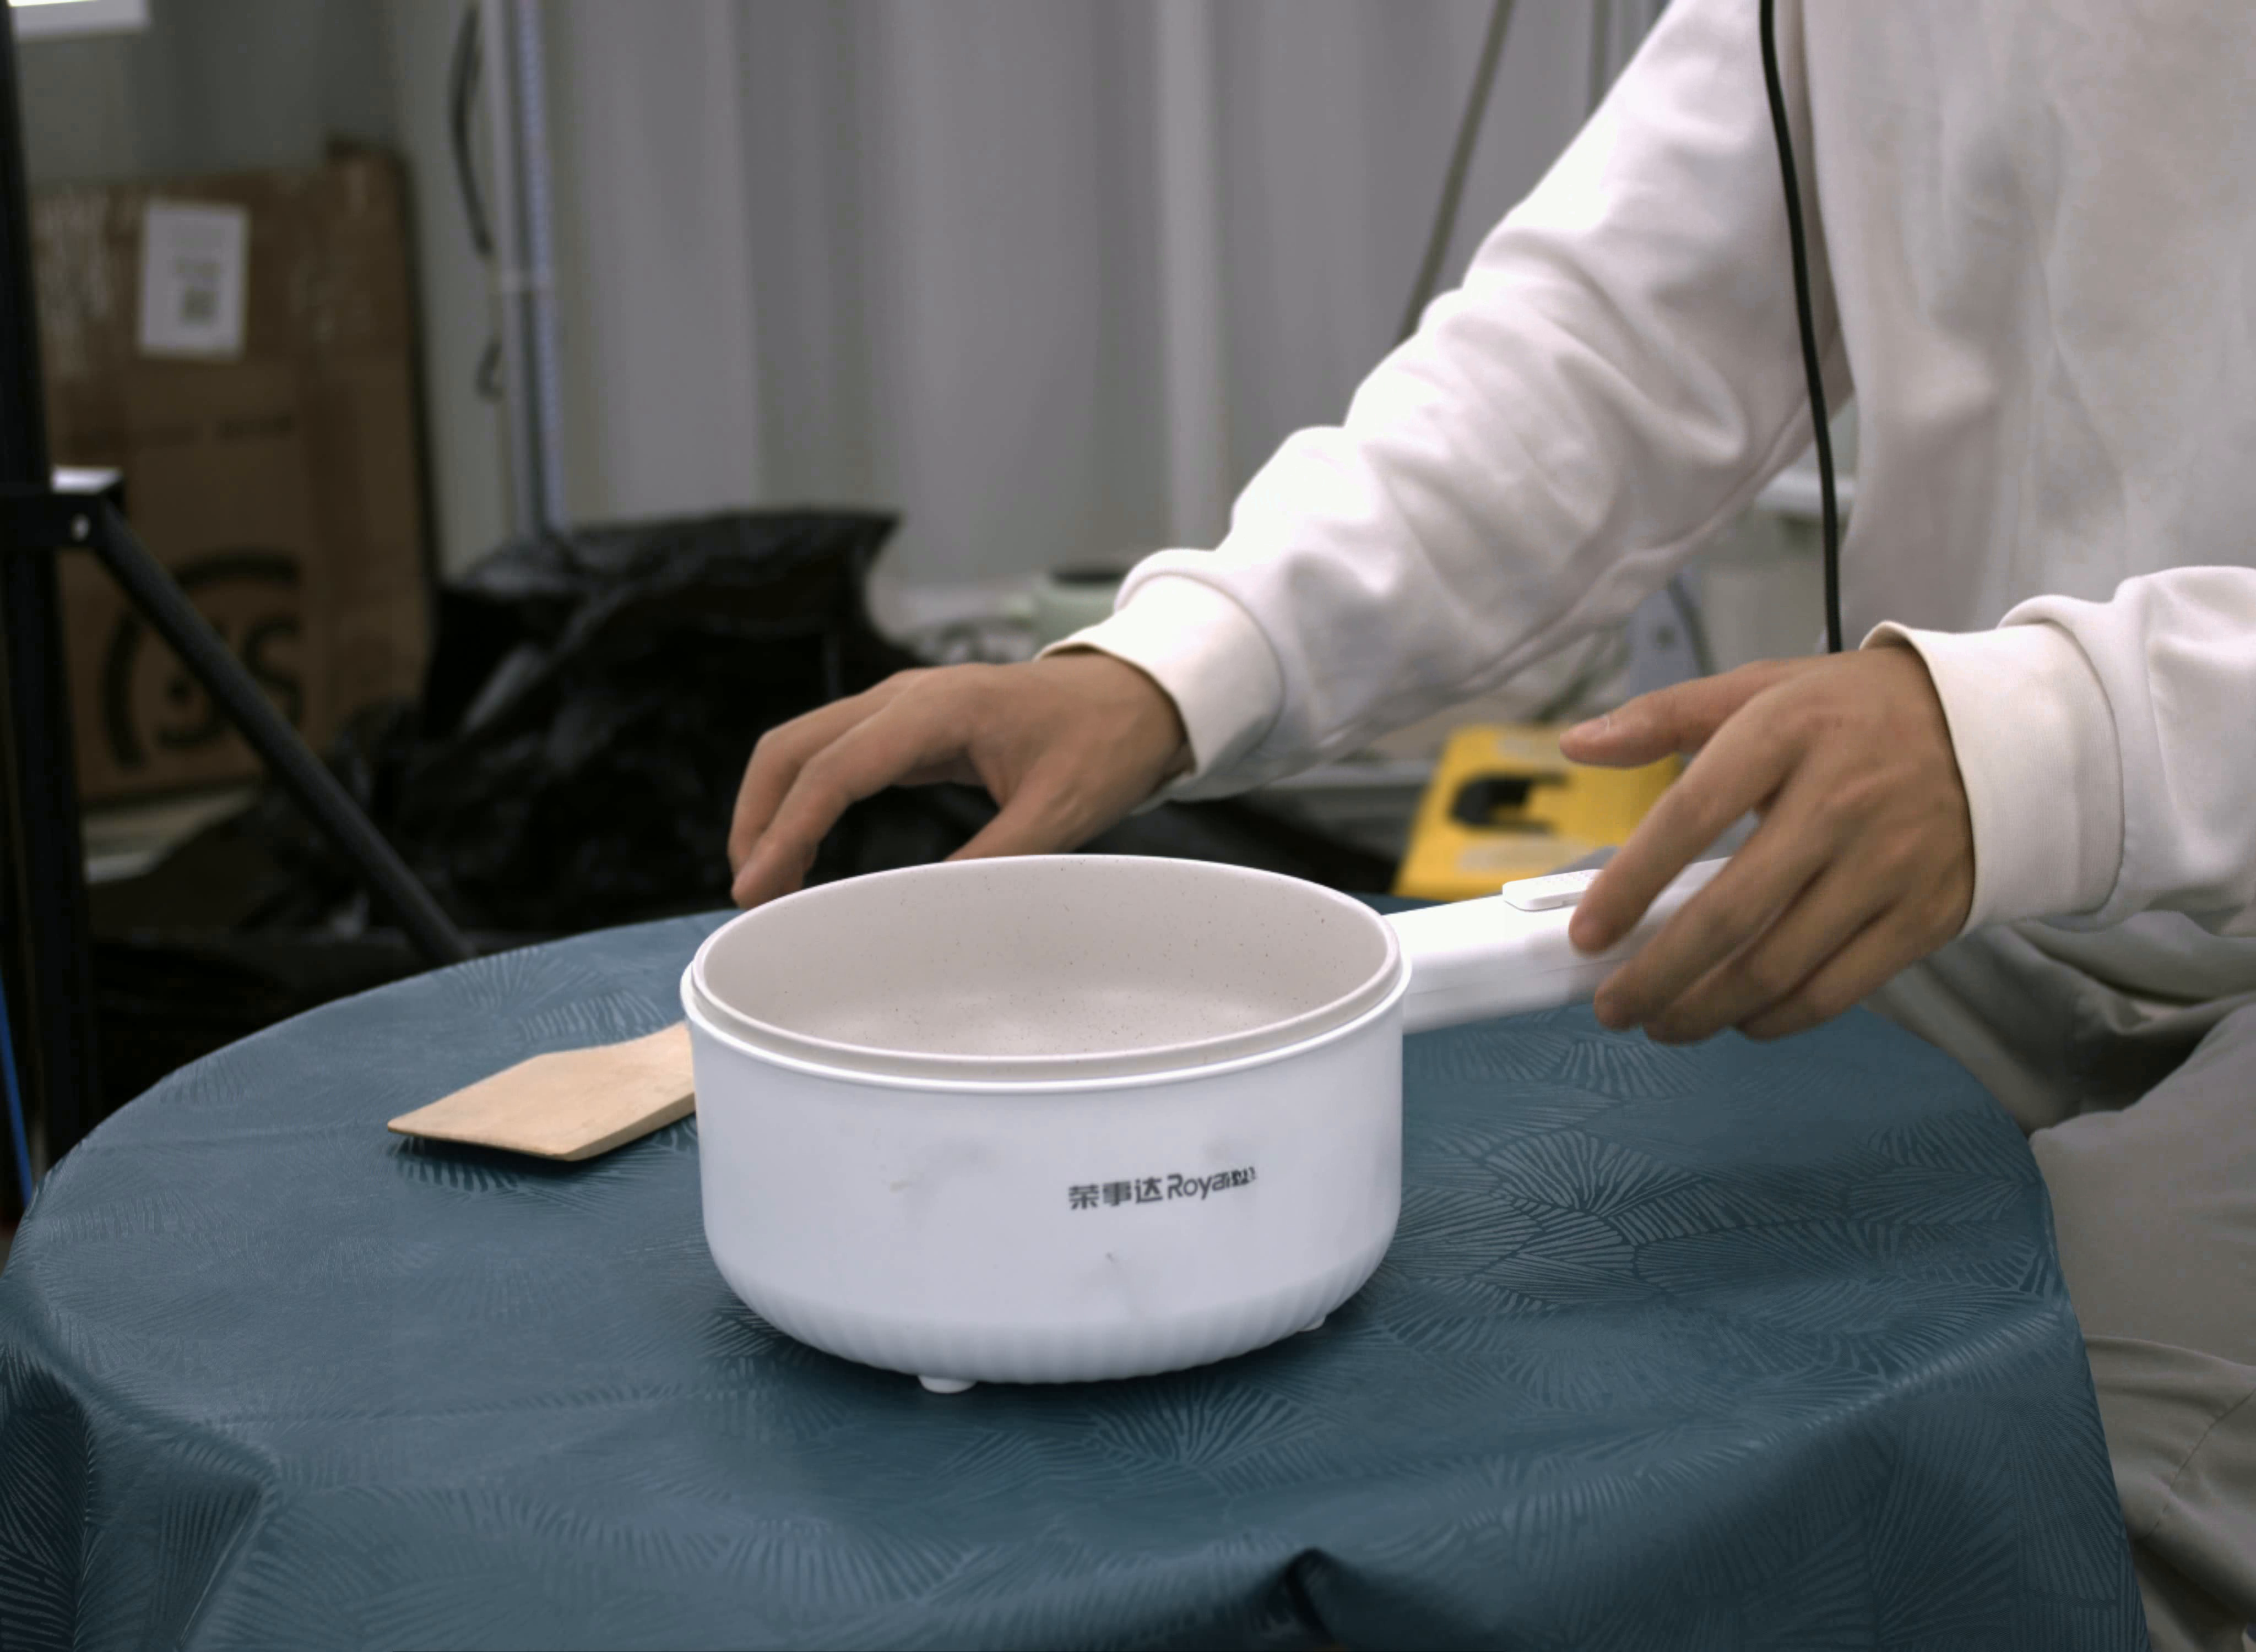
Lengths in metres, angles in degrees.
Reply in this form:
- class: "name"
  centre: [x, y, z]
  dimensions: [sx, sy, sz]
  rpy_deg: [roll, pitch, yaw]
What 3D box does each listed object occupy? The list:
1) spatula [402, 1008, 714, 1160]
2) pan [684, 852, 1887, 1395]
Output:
- class: "spatula"
  centre: [-0.123, 0.061, 1.727]
  dimensions: [0.073, 0.010, 0.288]
  rpy_deg: [5, 18, 30]
- class: "pan"
  centre: [0.050, 0.076, 1.493]
  dimensions: [0.348, 0.102, 0.205]
  rpy_deg: [-7, 15, -20]
